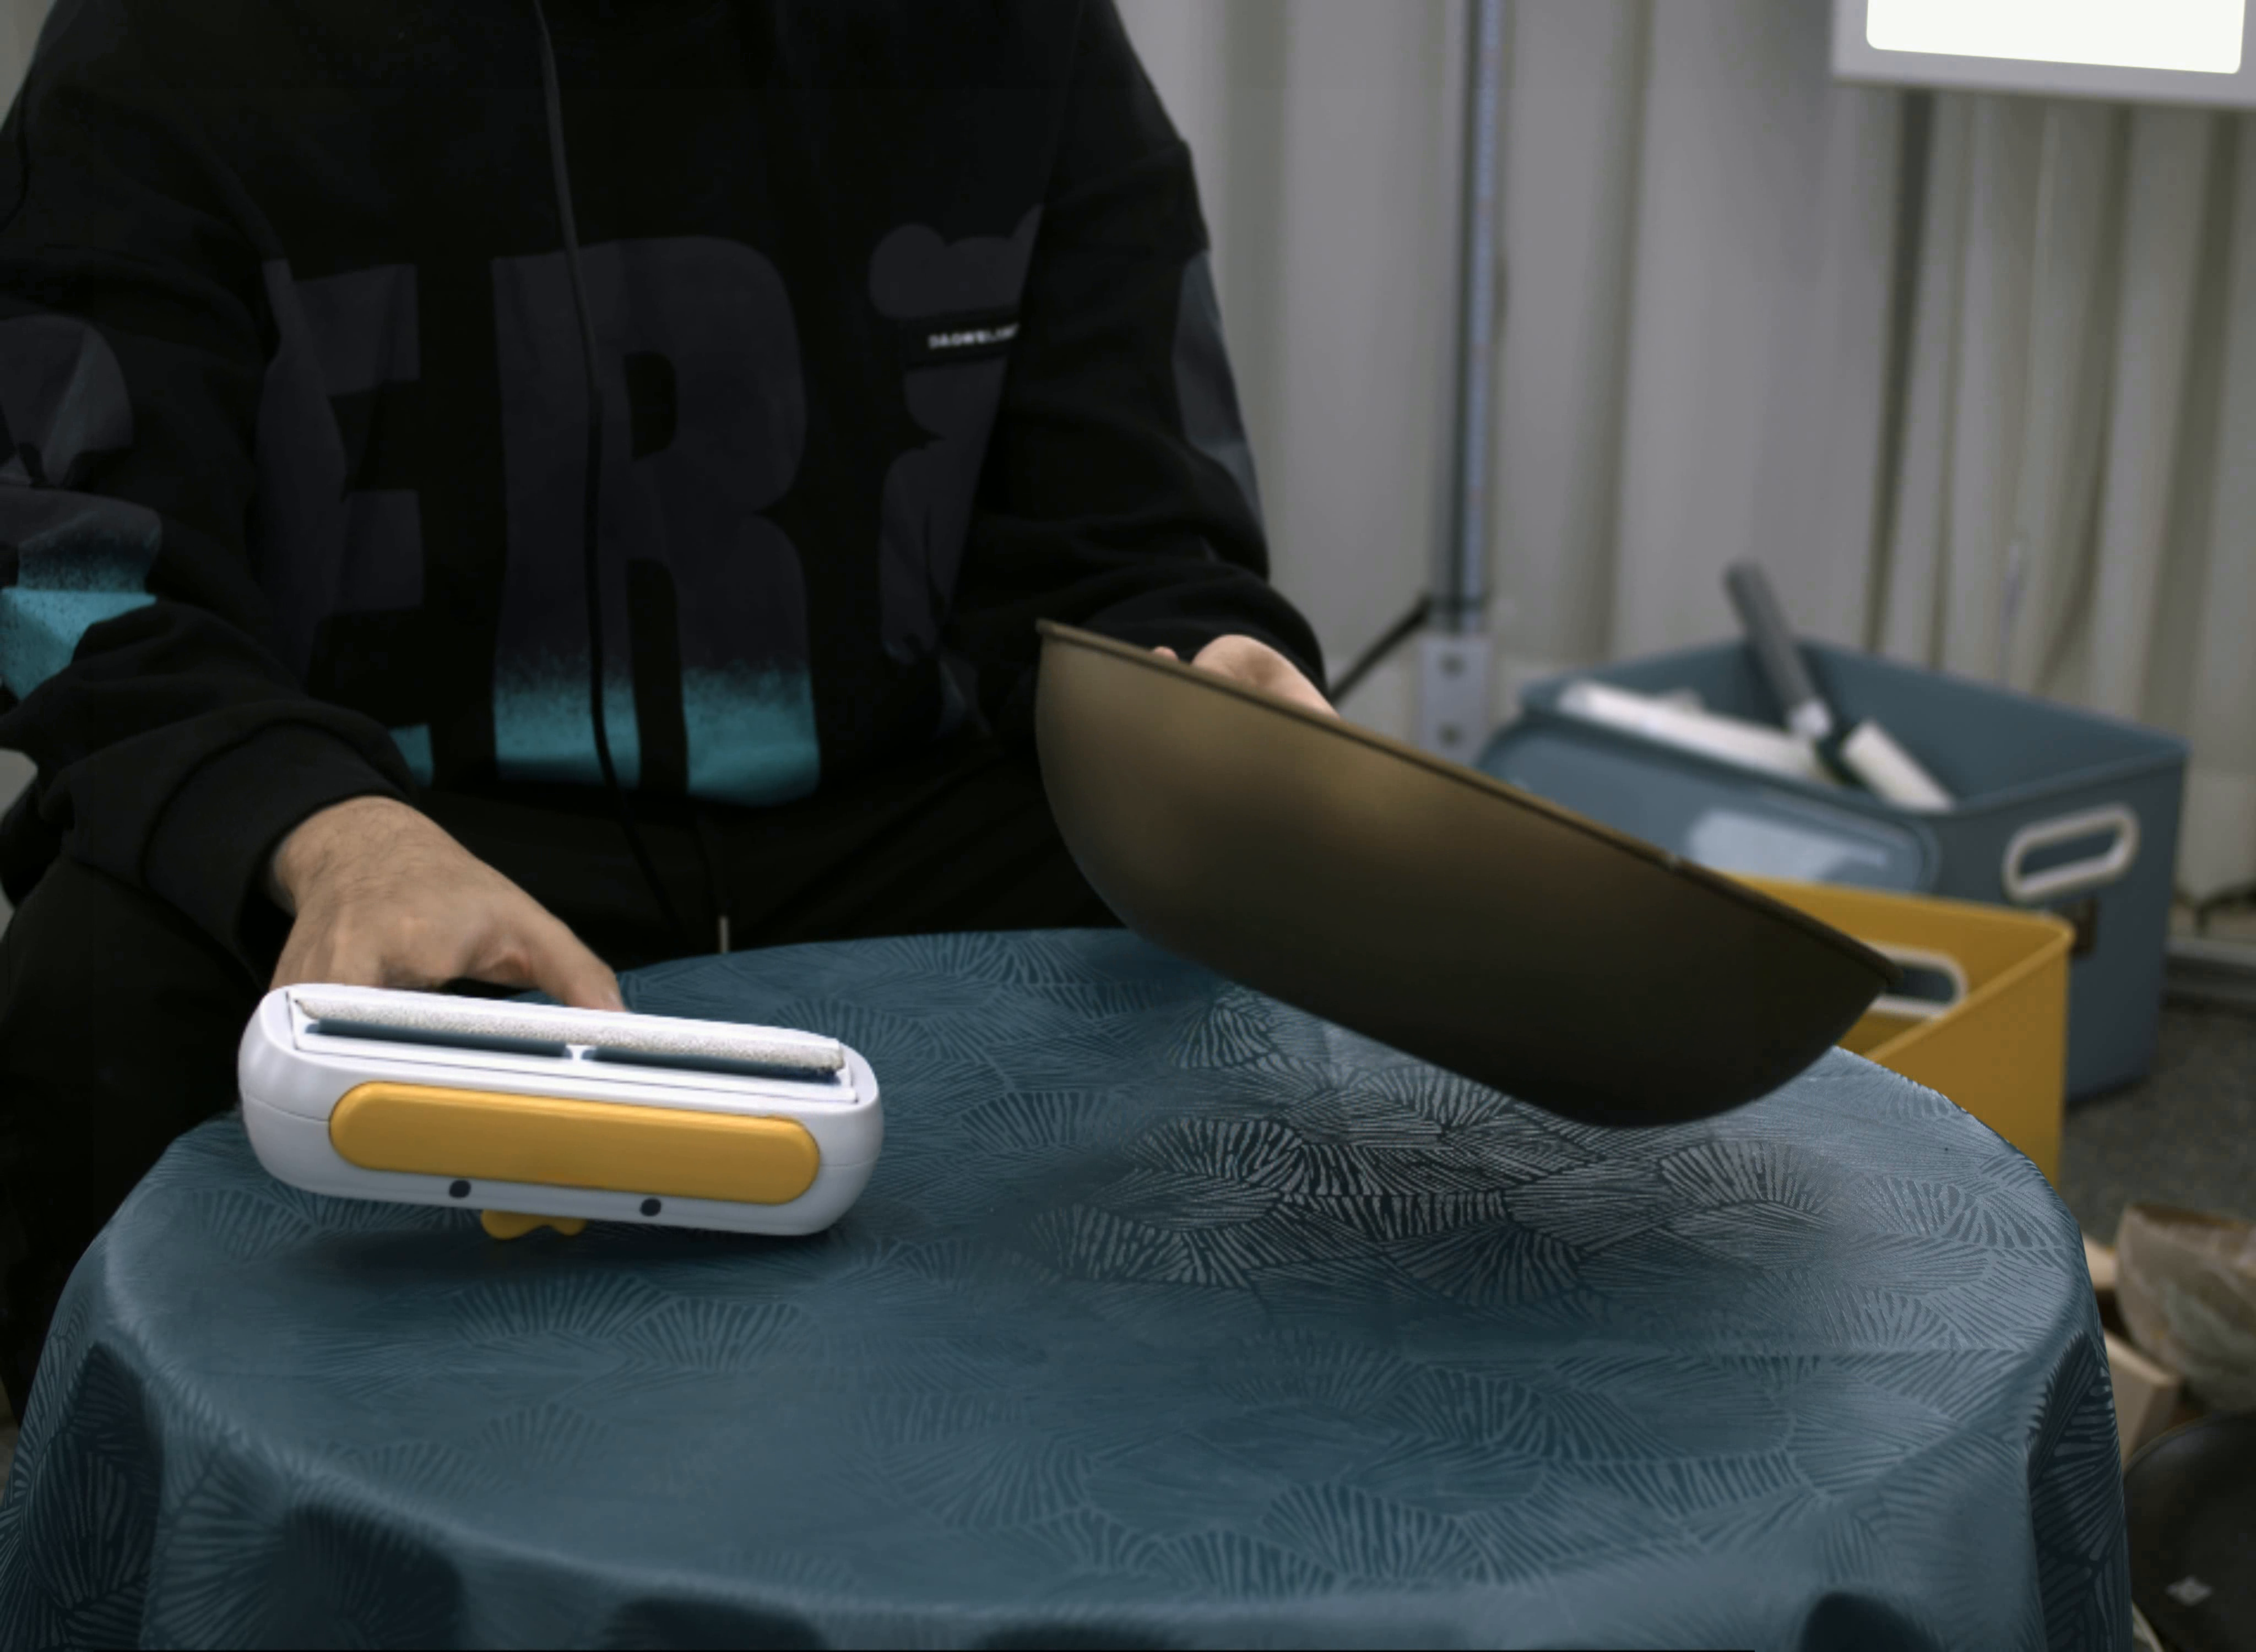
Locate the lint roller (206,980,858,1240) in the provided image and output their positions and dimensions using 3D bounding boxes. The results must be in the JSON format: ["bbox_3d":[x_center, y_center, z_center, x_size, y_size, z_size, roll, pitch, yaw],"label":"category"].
[{"bbox_3d":[-0.186,0.076,1.616,0.193,0.075,0.191,3,14,-11],"label":"lint roller"}]

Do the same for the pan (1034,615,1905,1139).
[{"bbox_3d":[0.061,0.017,1.671,0.290,0.087,0.459,23,-1,-19],"label":"pan"}]
